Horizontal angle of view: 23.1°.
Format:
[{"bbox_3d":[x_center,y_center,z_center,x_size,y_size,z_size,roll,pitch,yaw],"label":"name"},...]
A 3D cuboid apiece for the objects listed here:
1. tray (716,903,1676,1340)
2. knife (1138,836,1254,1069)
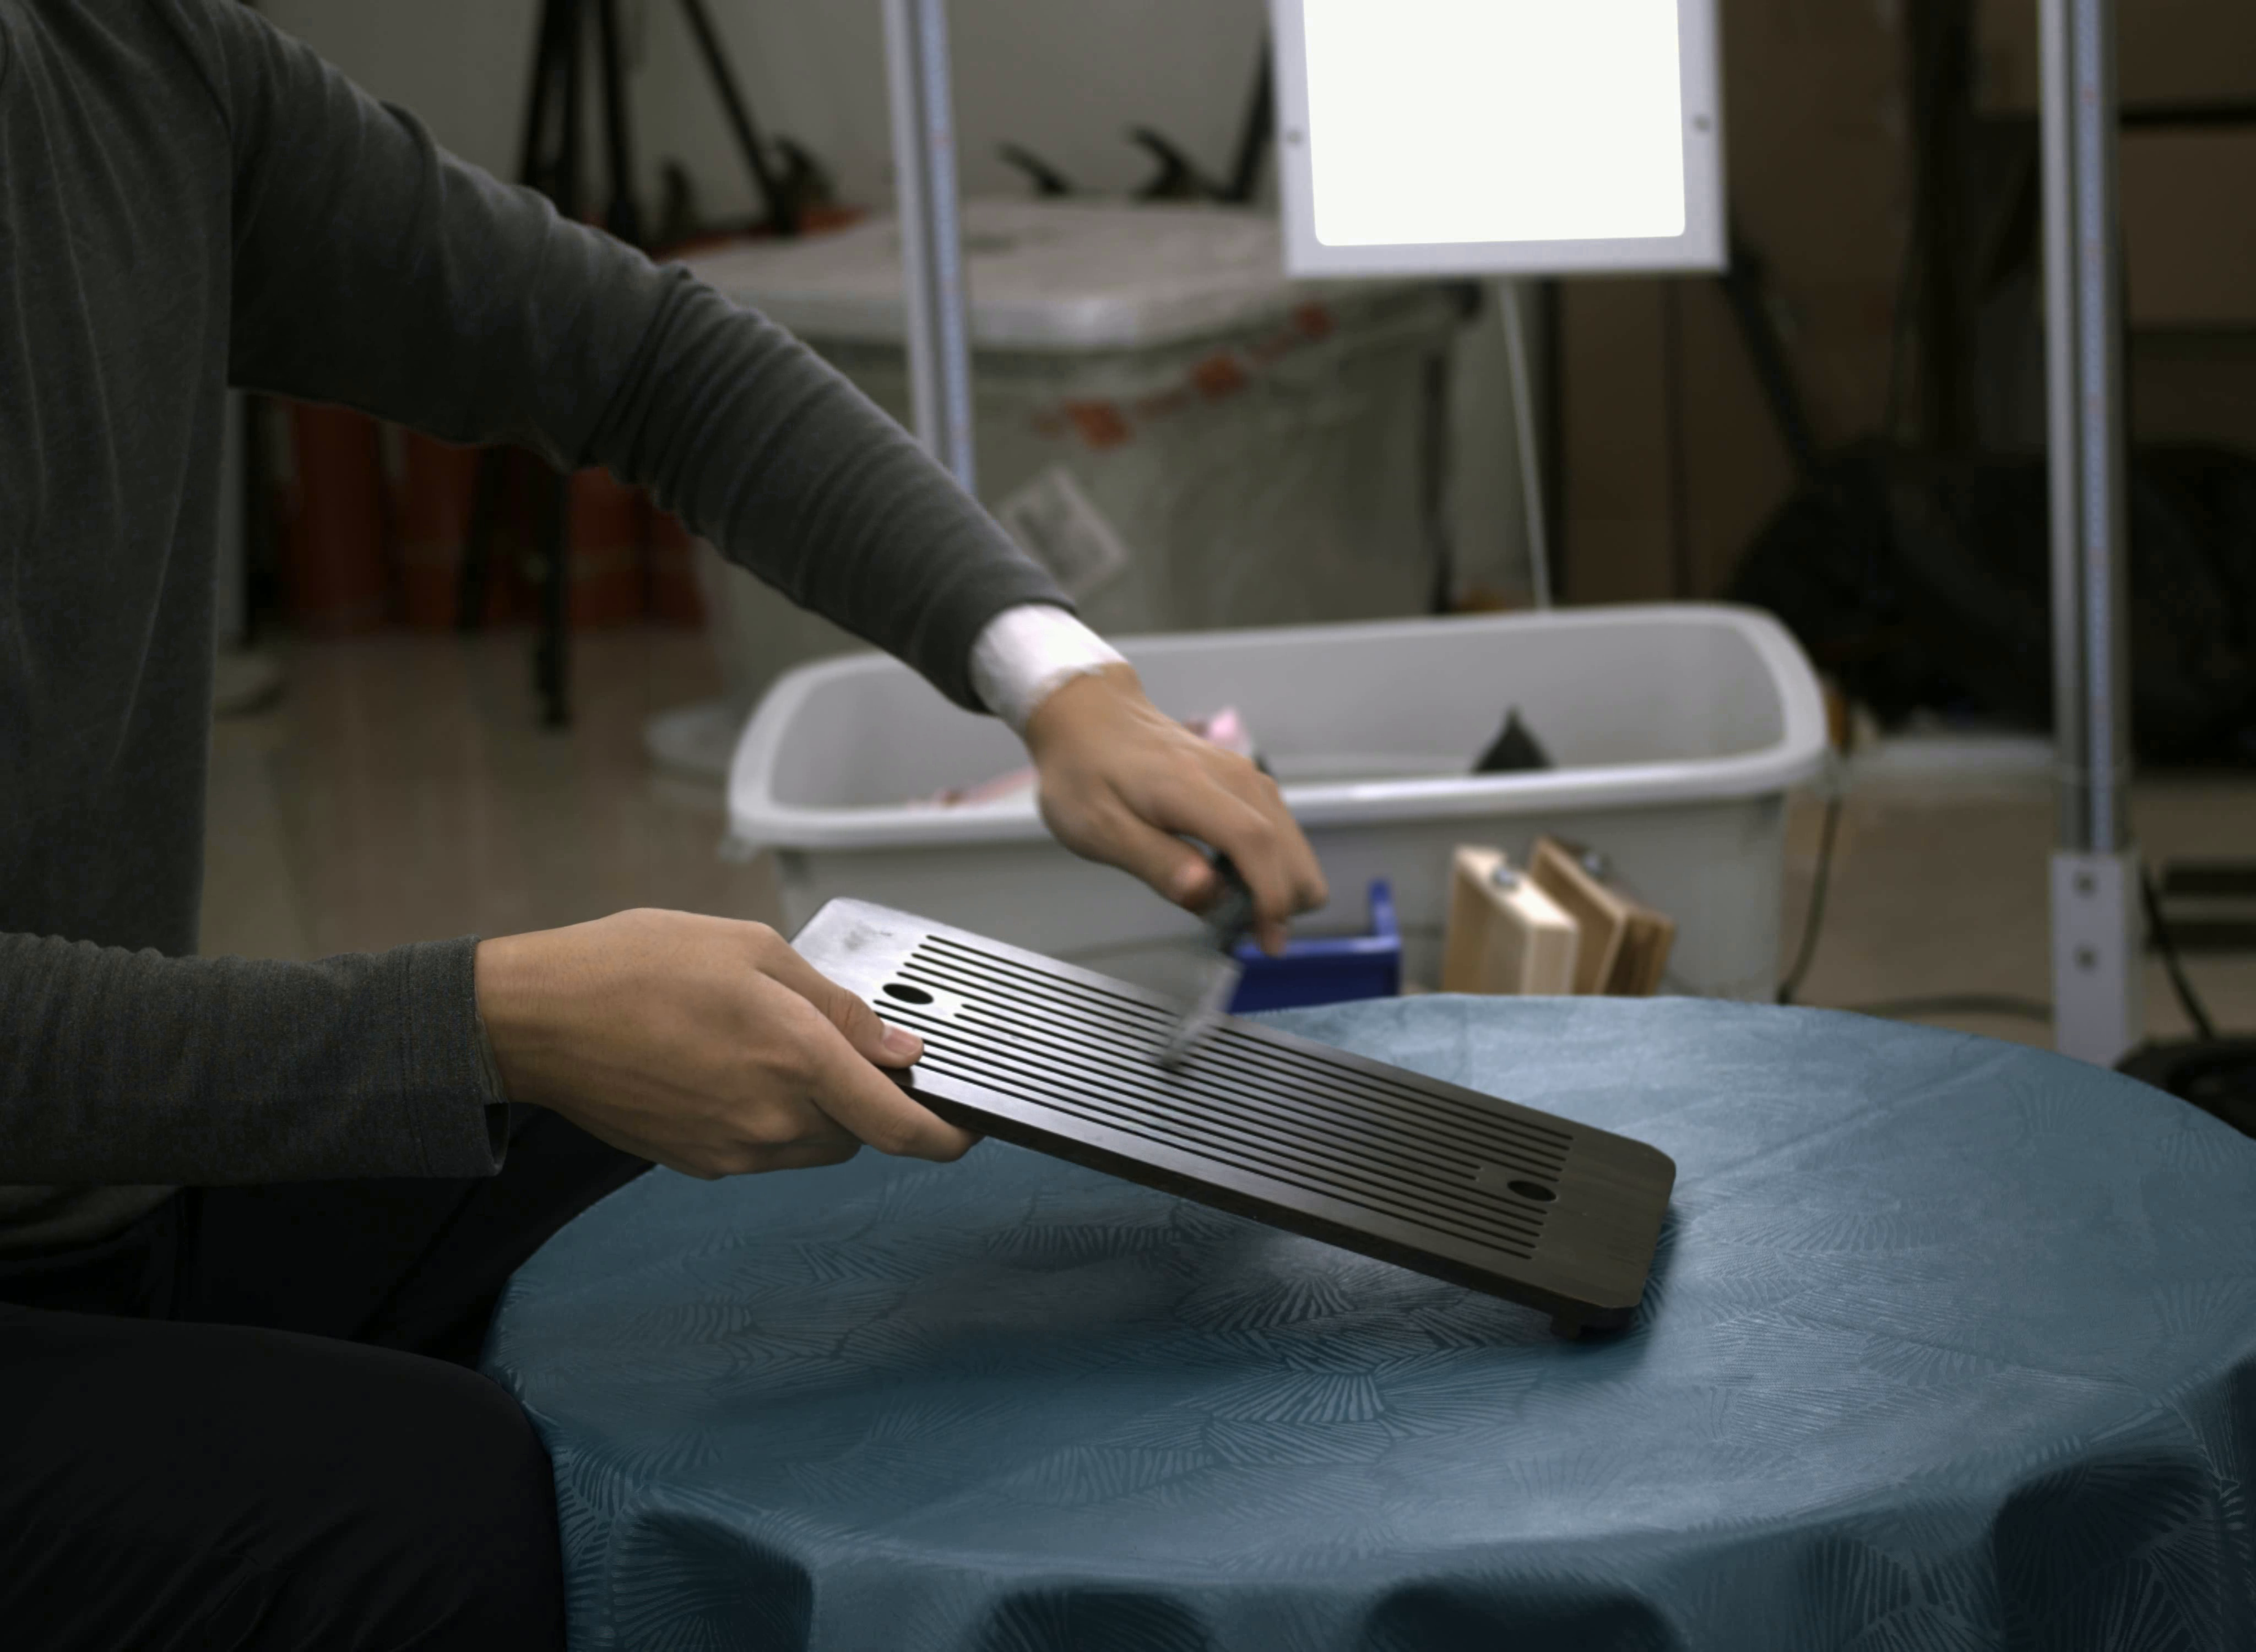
[{"bbox_3d":[0.026,0.095,1.798,0.307,0.019,0.168,17,17,8],"label":"tray"},{"bbox_3d":[0.021,0.043,1.922,0.024,0.016,0.236,27,19,-1],"label":"knife"}]
